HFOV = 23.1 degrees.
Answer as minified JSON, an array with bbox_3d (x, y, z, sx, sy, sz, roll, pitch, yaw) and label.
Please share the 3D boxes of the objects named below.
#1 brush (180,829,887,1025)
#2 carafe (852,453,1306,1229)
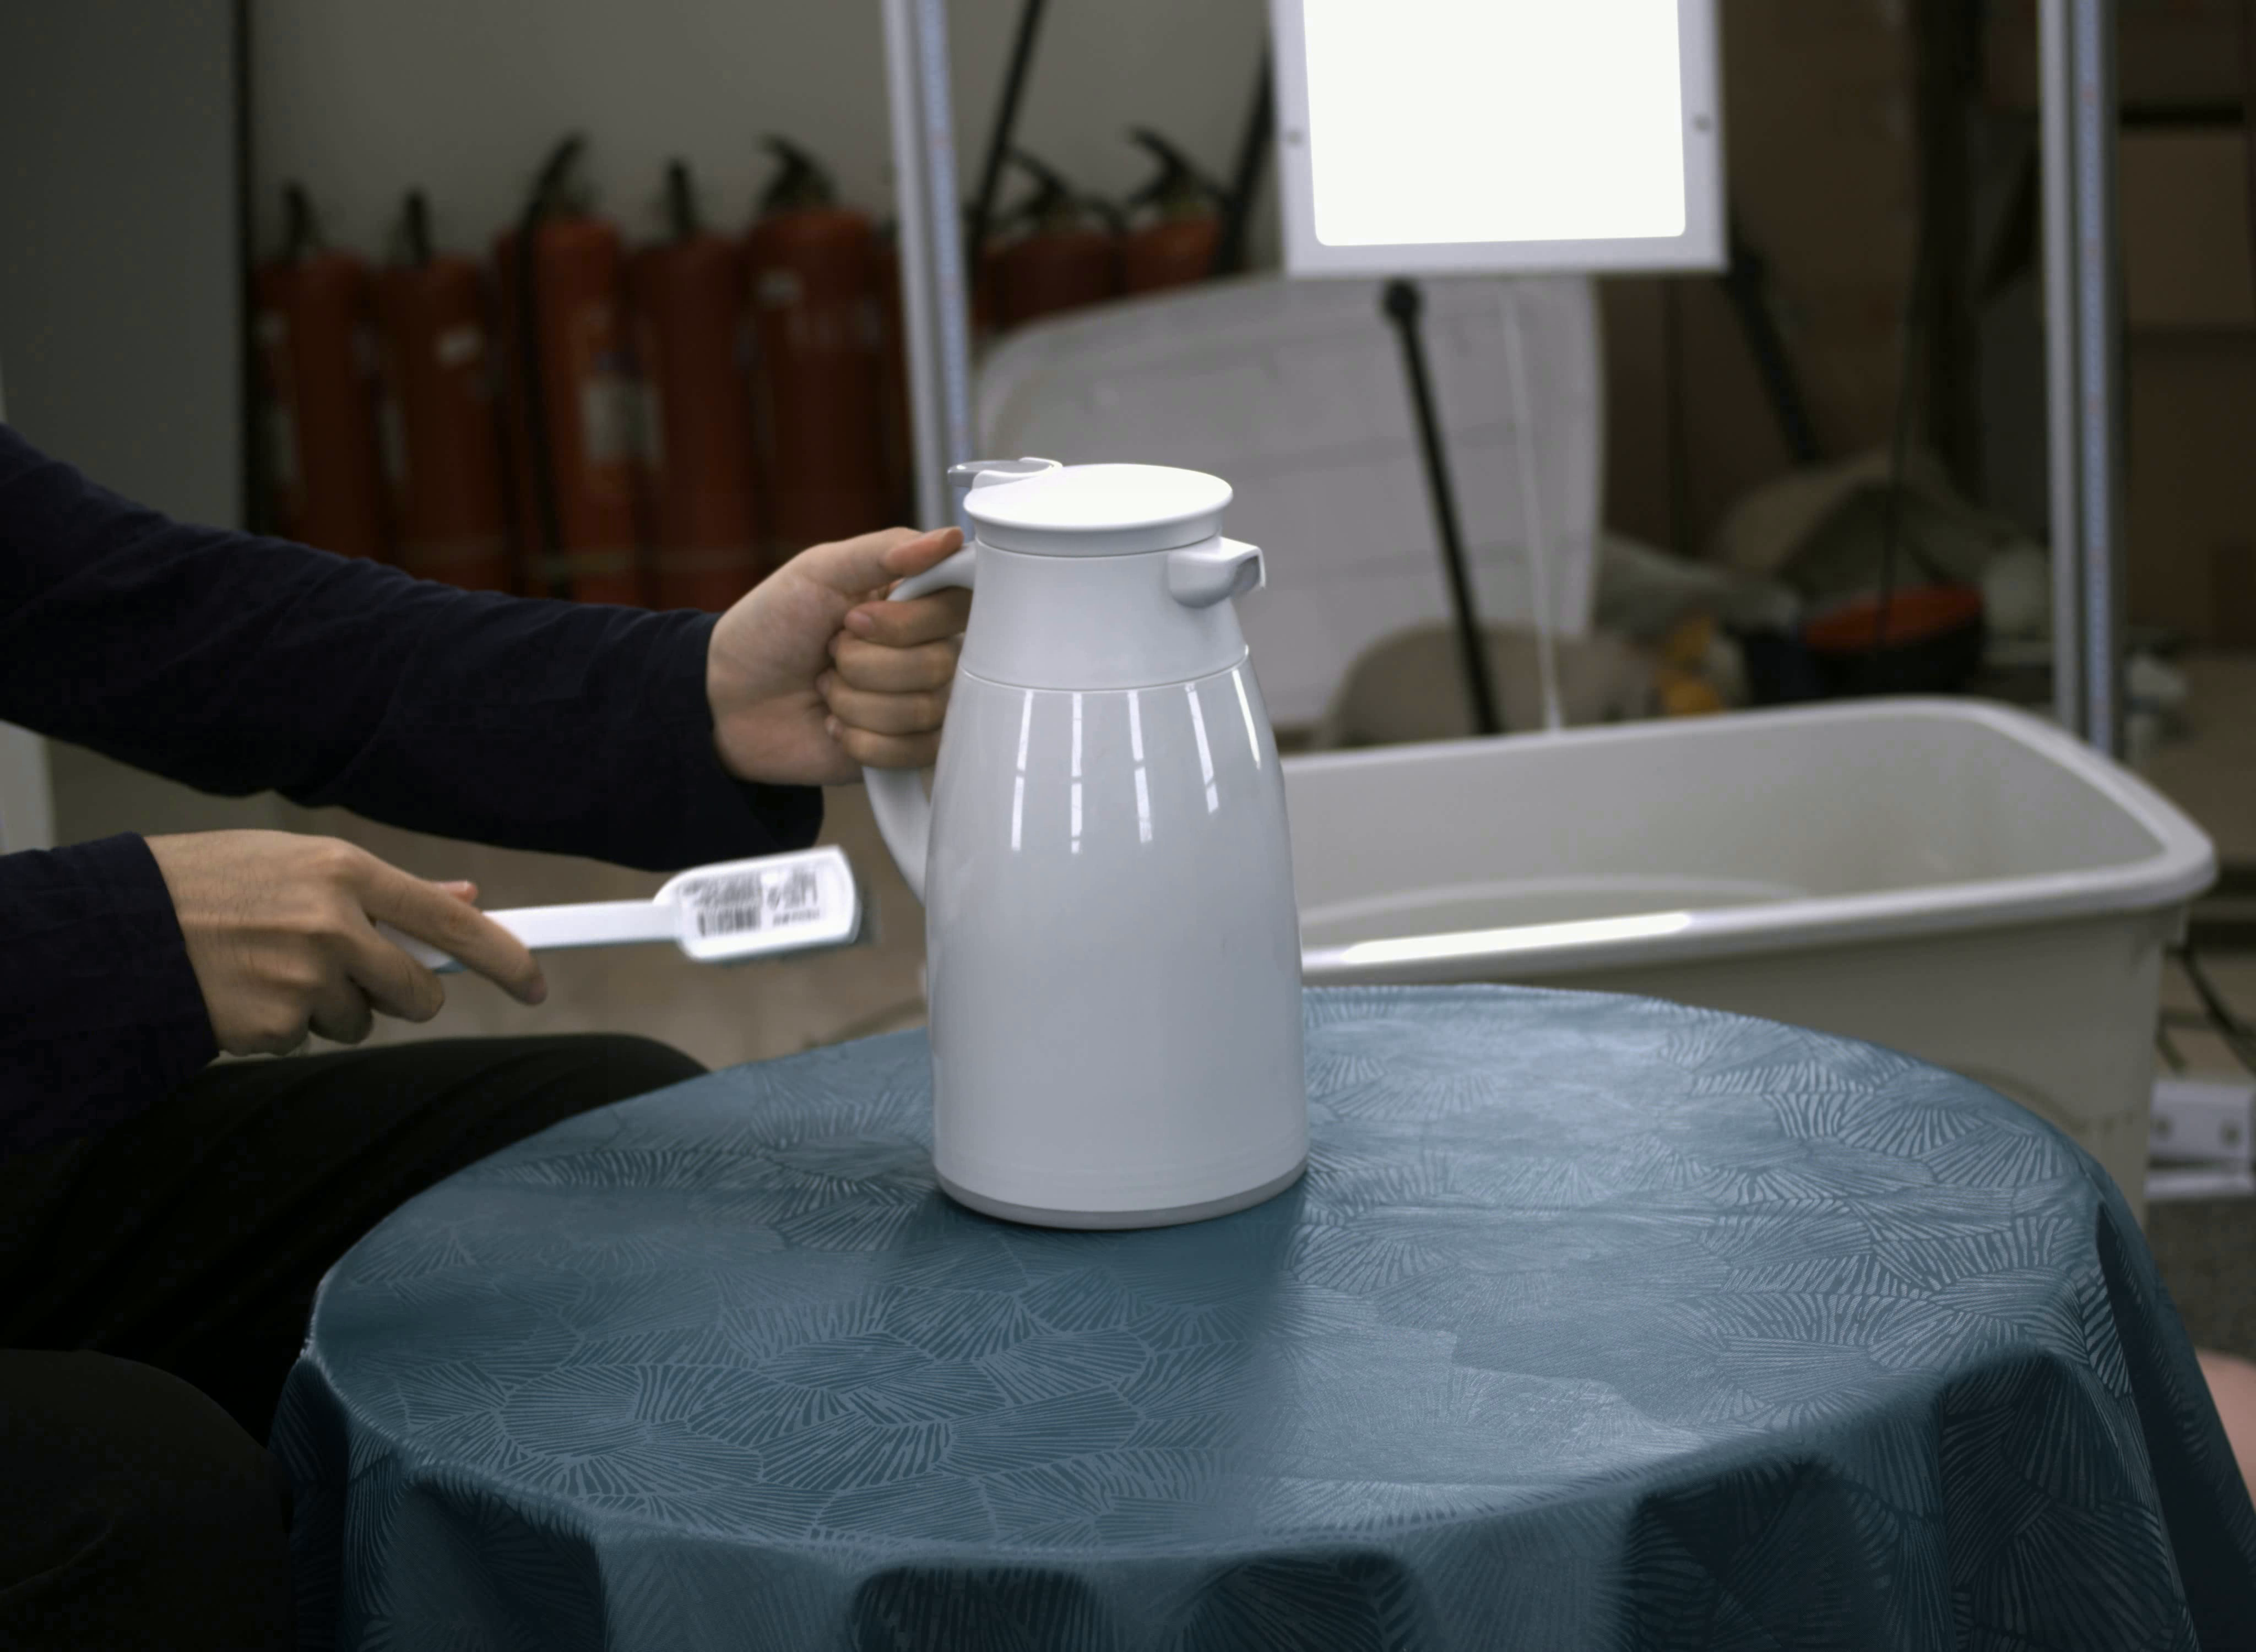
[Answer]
[{"bbox_3d":[-0.202,0.038,1.889,0.241,0.034,0.050,-10,-7,-6],"label":"brush"},{"bbox_3d":[-0.023,-0.003,1.895,0.171,0.250,0.129,9,19,35],"label":"carafe"}]
